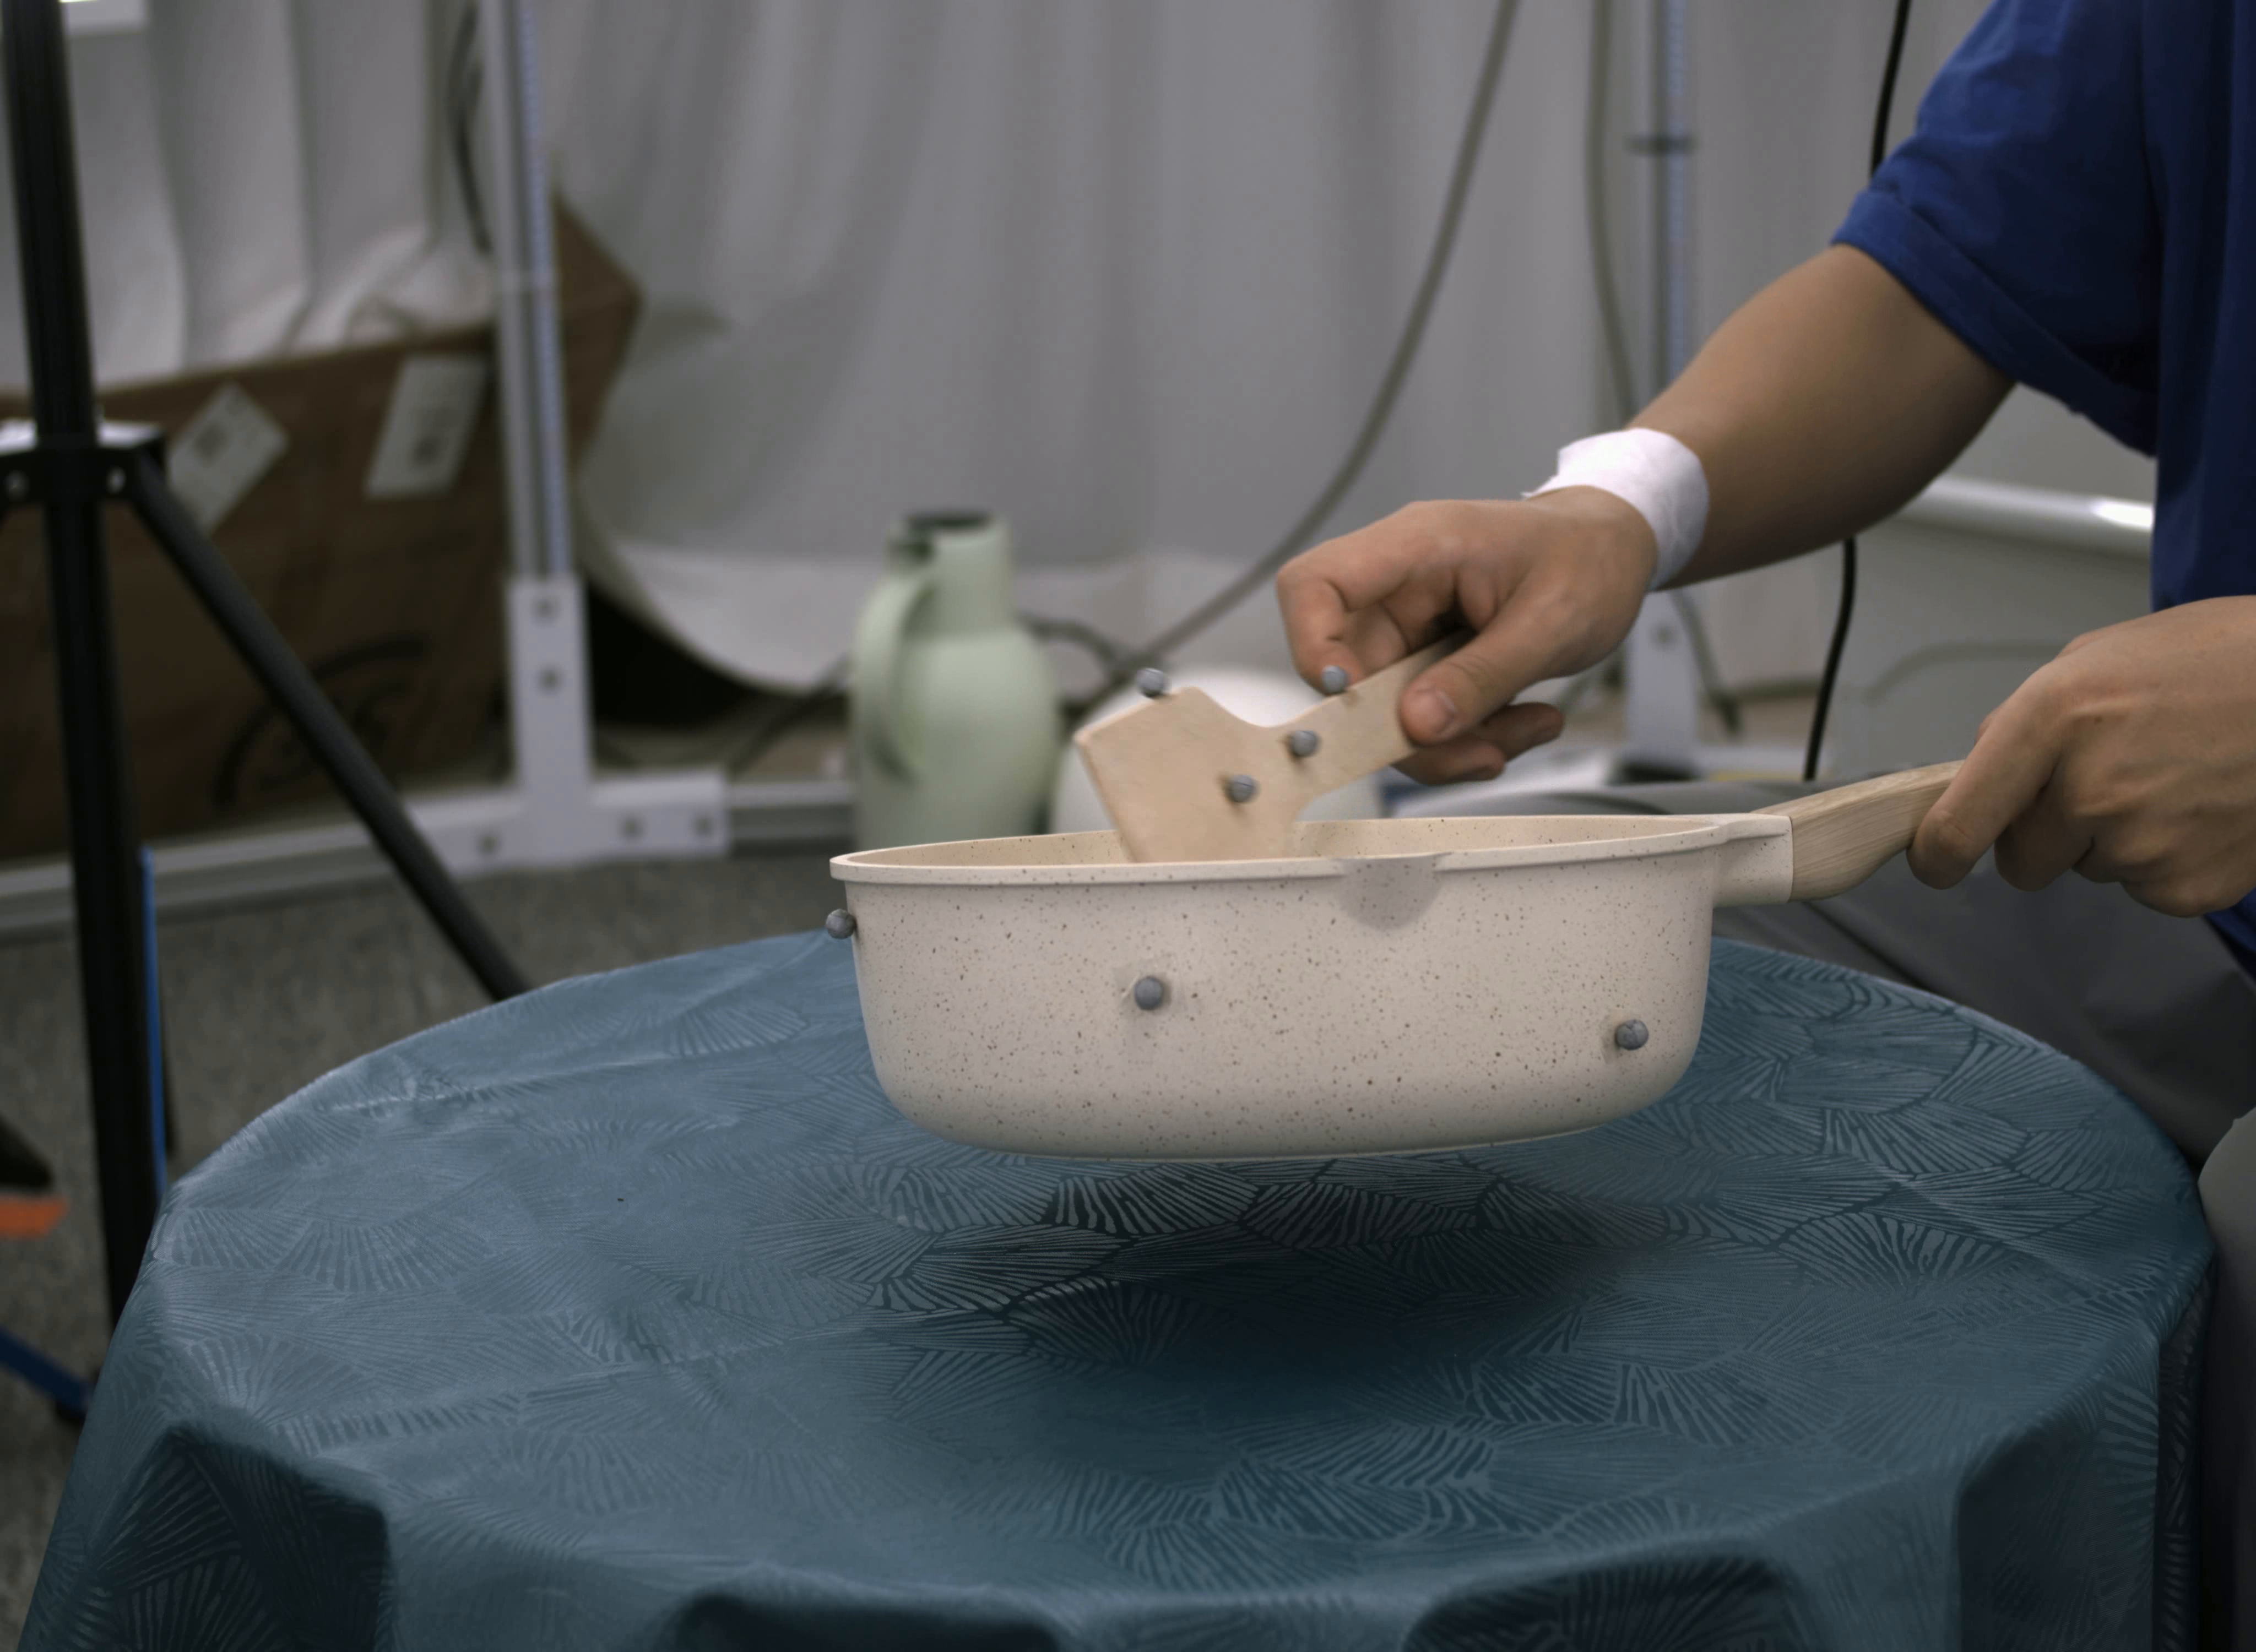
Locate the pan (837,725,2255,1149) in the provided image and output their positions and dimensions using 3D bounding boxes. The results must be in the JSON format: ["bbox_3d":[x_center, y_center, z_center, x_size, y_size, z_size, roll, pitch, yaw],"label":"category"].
[{"bbox_3d":[0.134,0.031,1.493,0.429,0.102,0.266,-2,0,-12],"label":"pan"}]

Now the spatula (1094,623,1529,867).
[{"bbox_3d":[0.062,-0.023,1.576,0.011,0.072,0.288,-25,1,28],"label":"spatula"}]
